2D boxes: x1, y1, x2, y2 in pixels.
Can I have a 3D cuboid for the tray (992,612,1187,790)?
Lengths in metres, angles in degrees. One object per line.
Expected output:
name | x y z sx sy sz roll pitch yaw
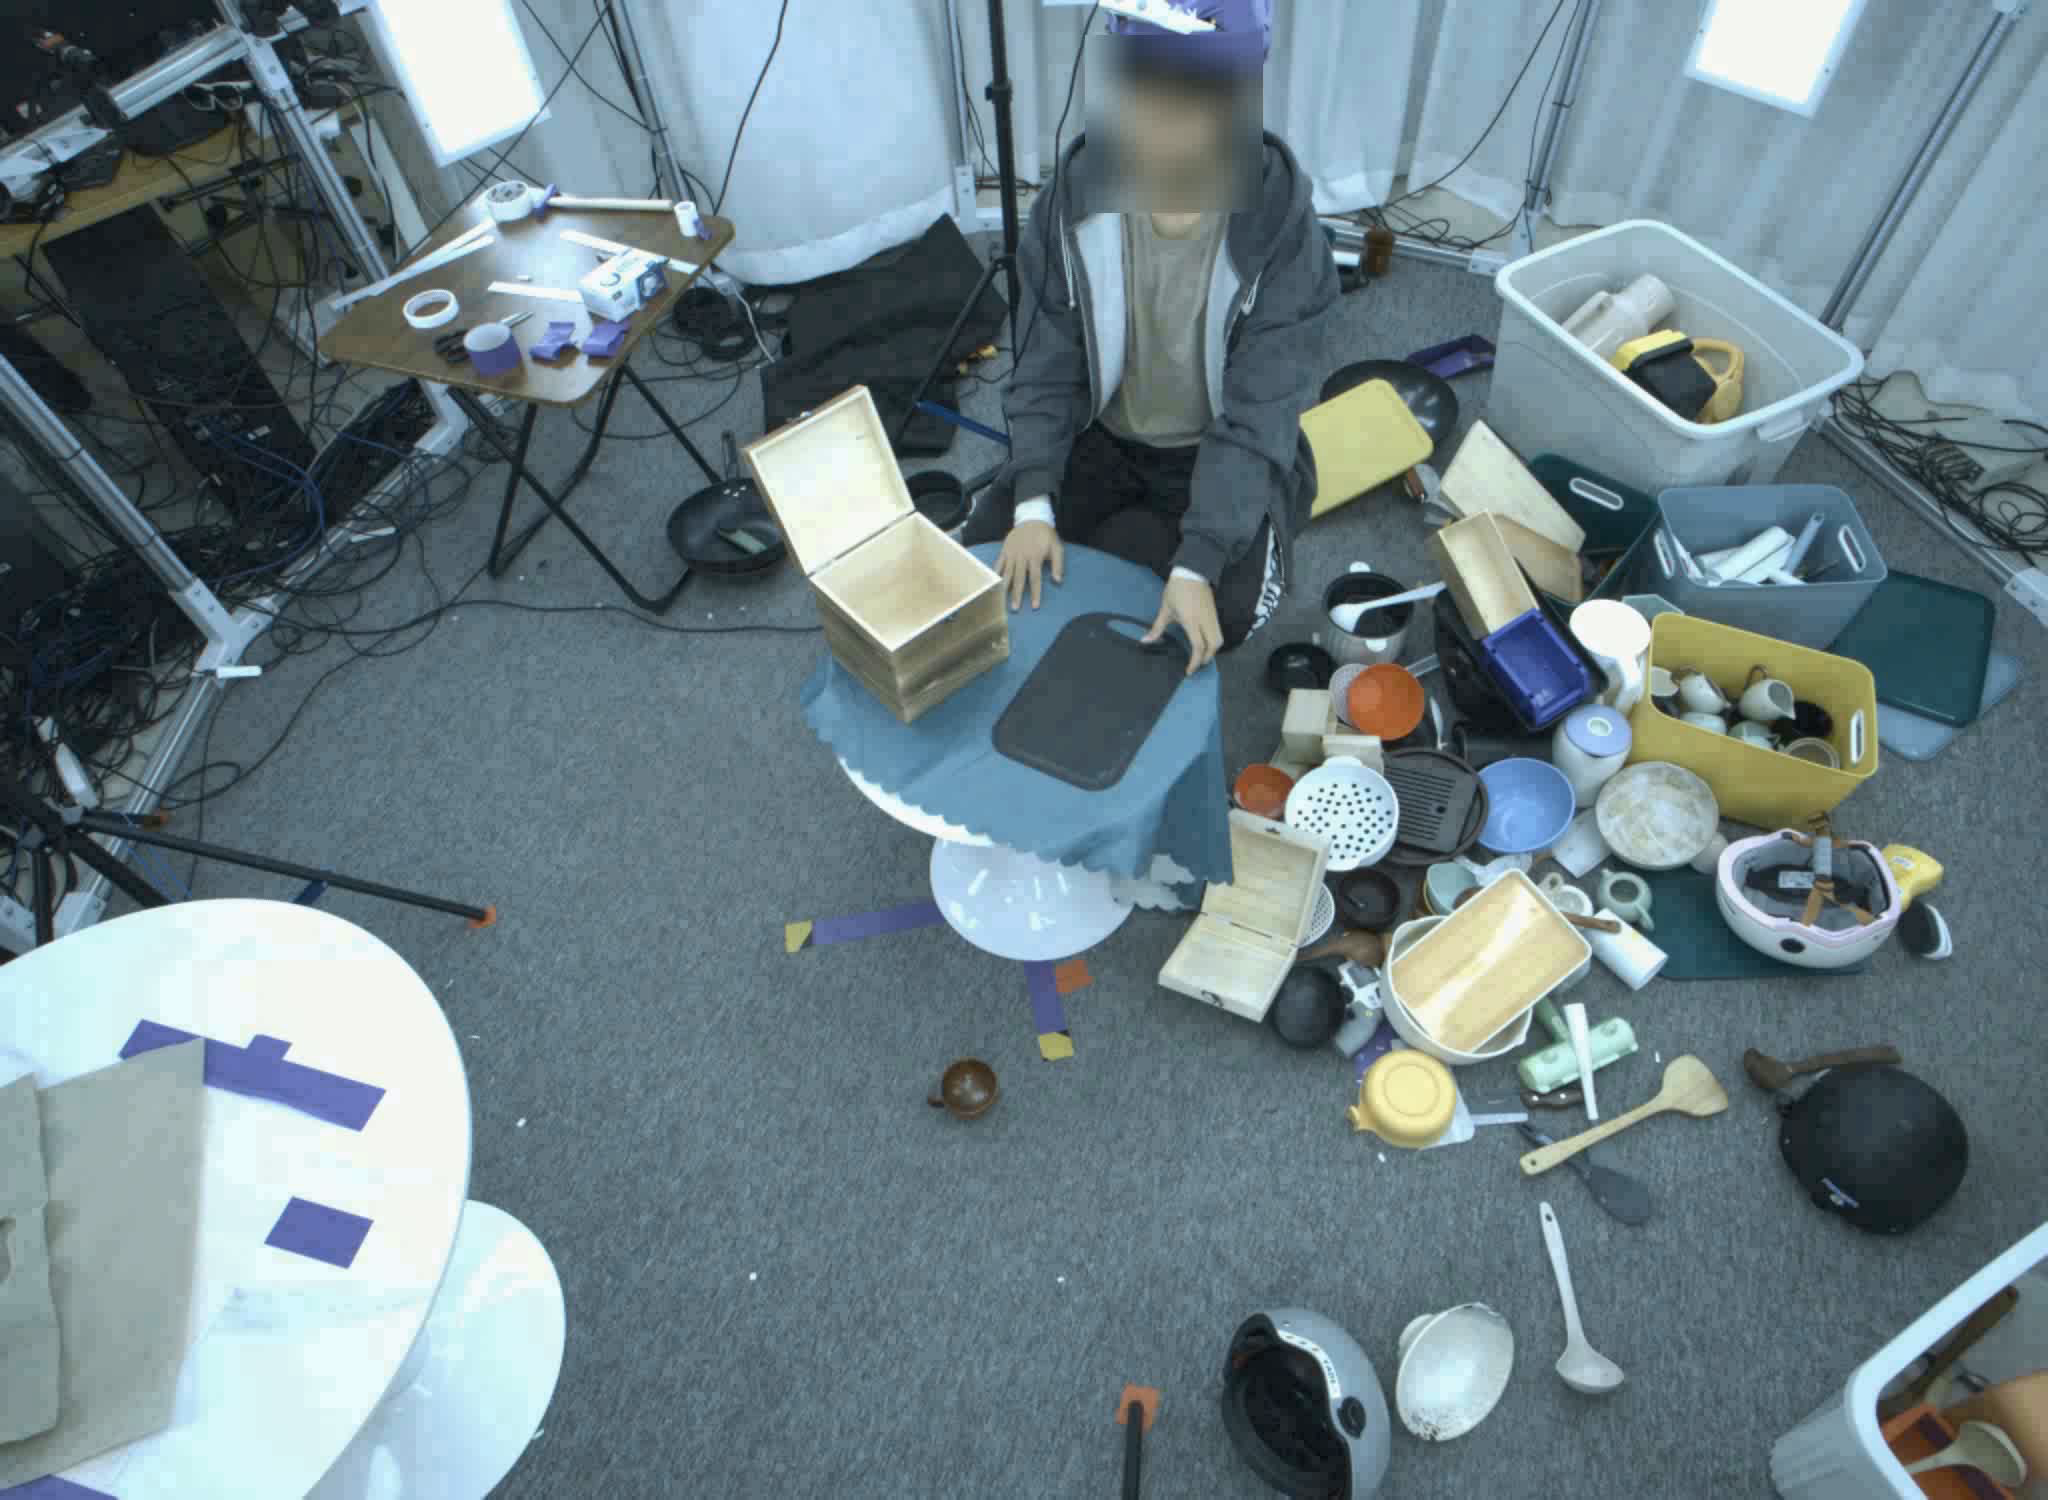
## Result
tray | 0.104 -0.087 1.844 0.208 0.010 0.326 23 59 17

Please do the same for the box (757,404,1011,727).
box | -0.210 -0.282 1.777 0.210 0.380 0.316 -38 60 -20
